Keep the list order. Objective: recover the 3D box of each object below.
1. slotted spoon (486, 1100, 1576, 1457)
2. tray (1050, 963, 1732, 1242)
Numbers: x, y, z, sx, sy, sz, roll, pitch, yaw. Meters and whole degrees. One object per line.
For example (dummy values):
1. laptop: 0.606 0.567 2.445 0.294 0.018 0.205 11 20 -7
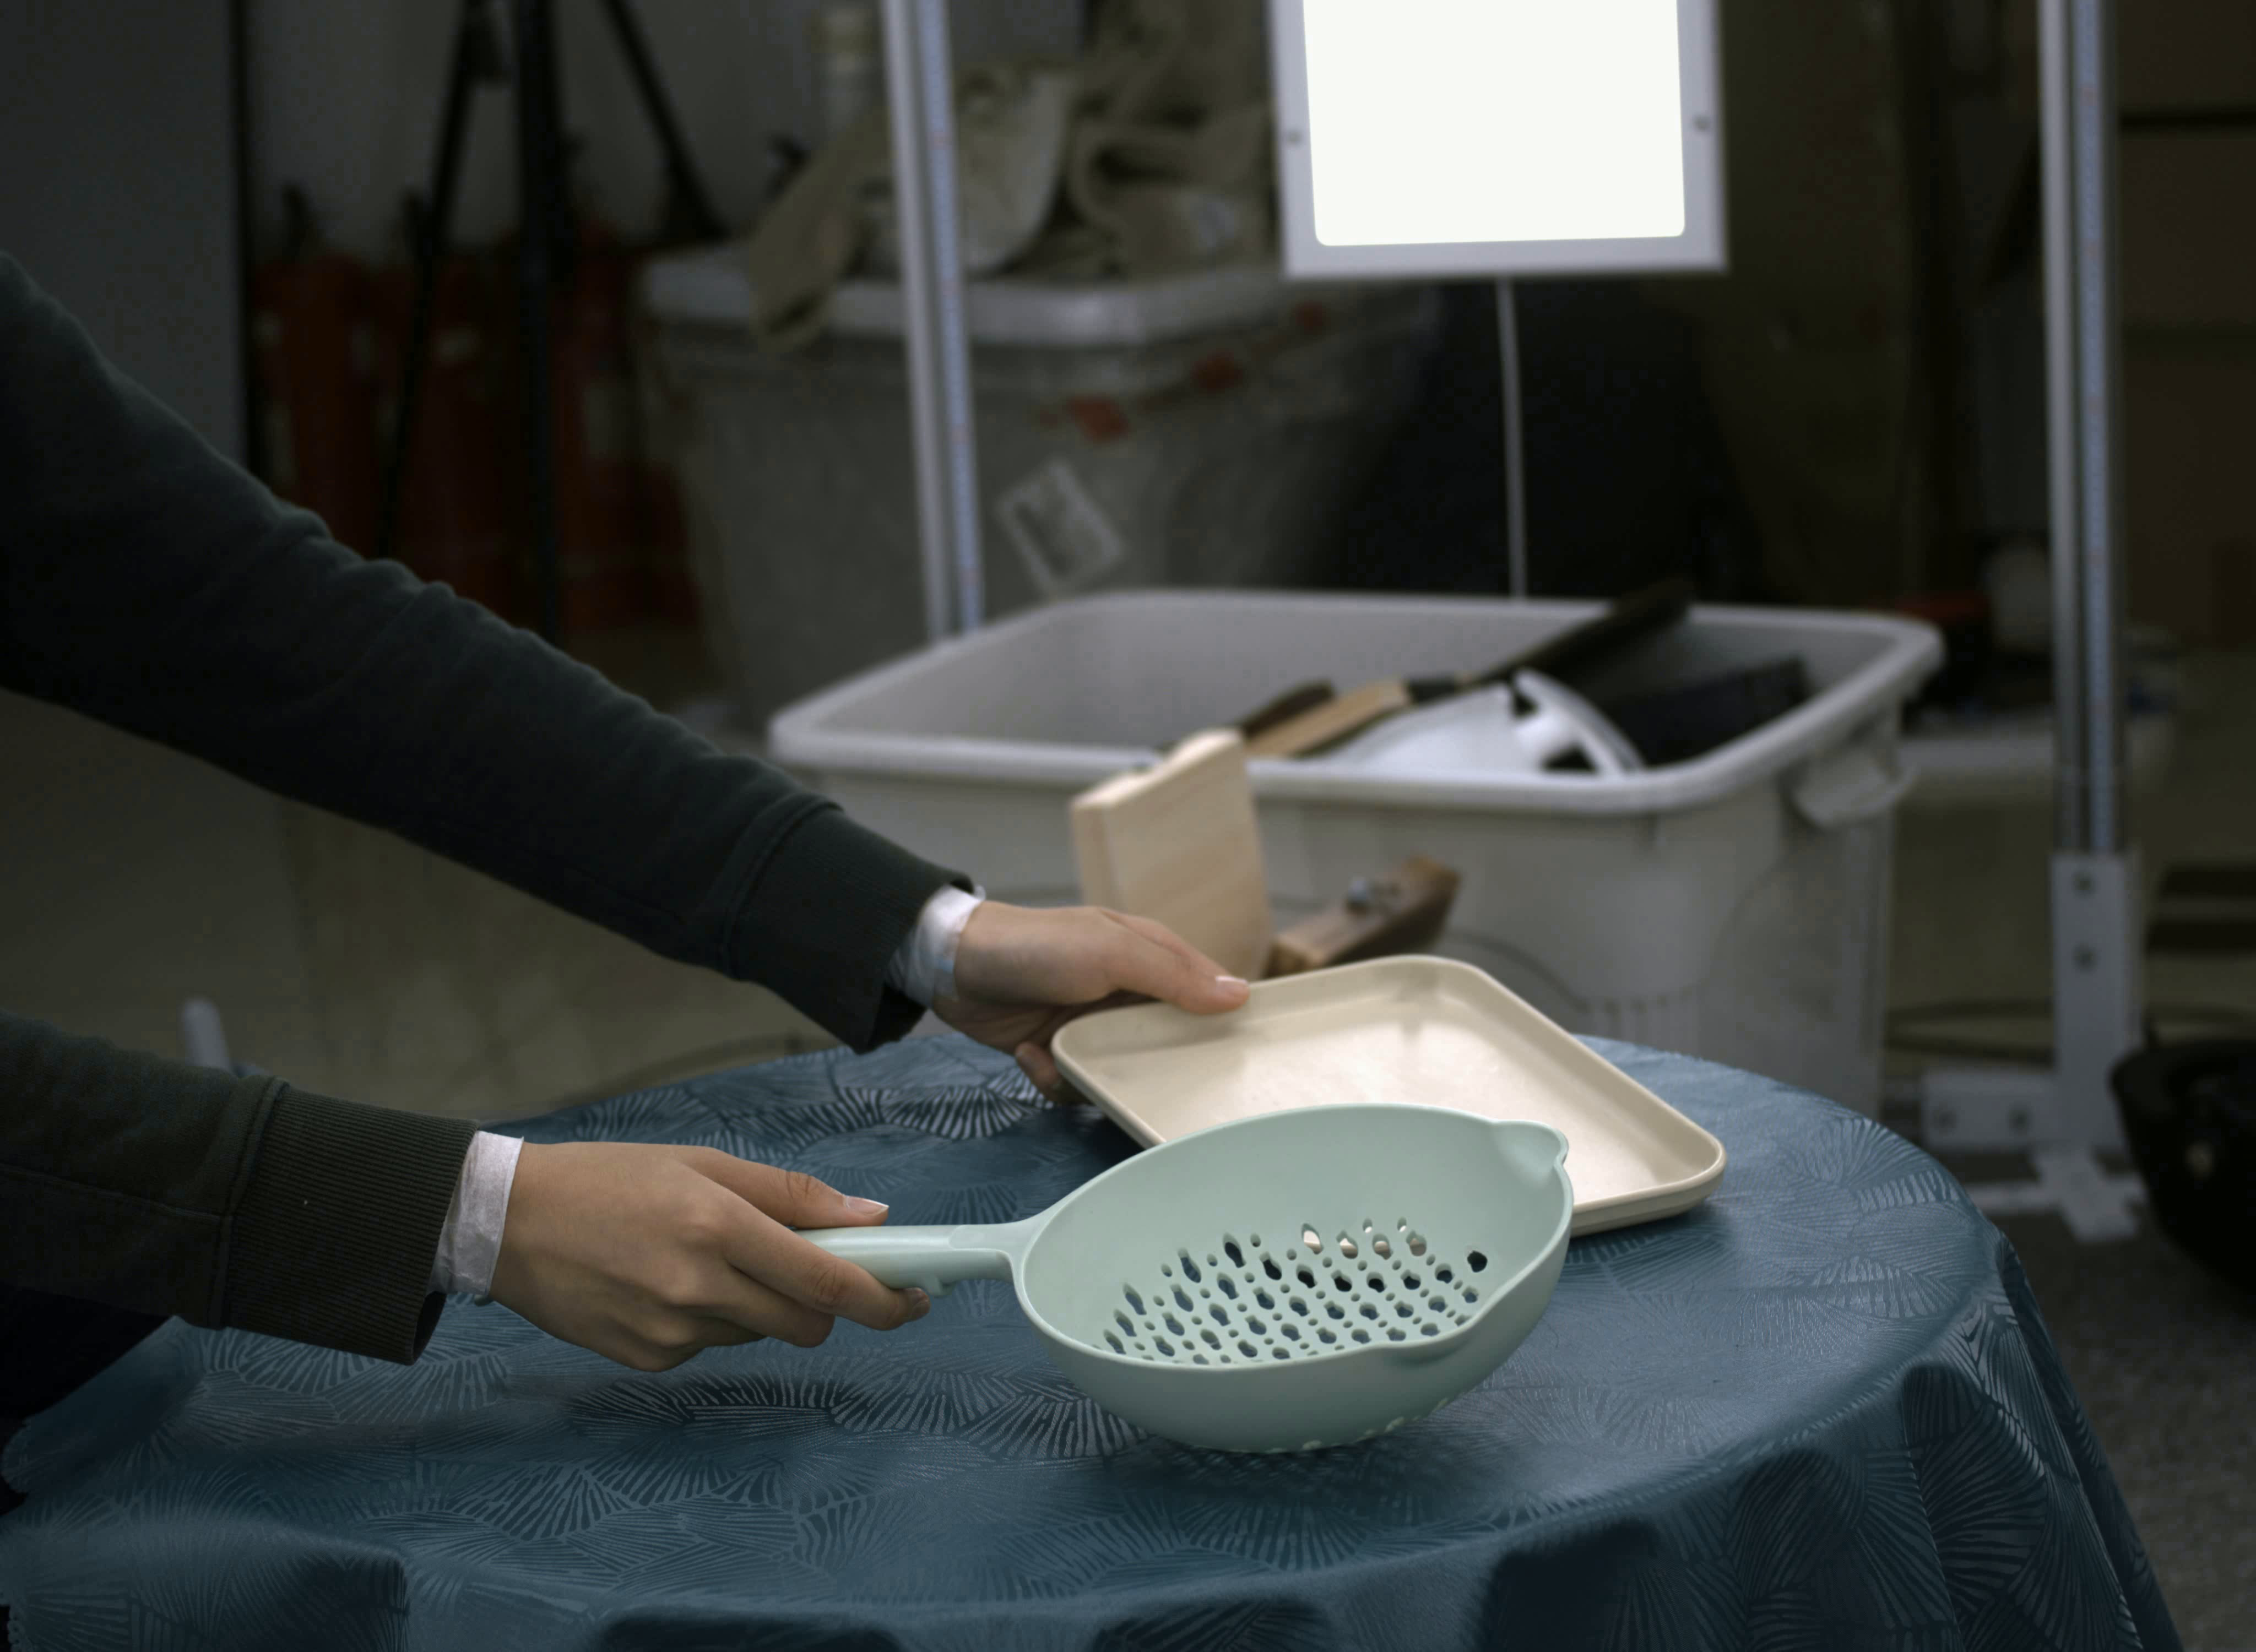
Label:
1. slotted spoon: -0.038 0.137 1.695 0.363 0.075 0.166 5 25 20
2. tray: 0.087 0.100 1.894 0.168 0.017 0.243 -10 20 -20
